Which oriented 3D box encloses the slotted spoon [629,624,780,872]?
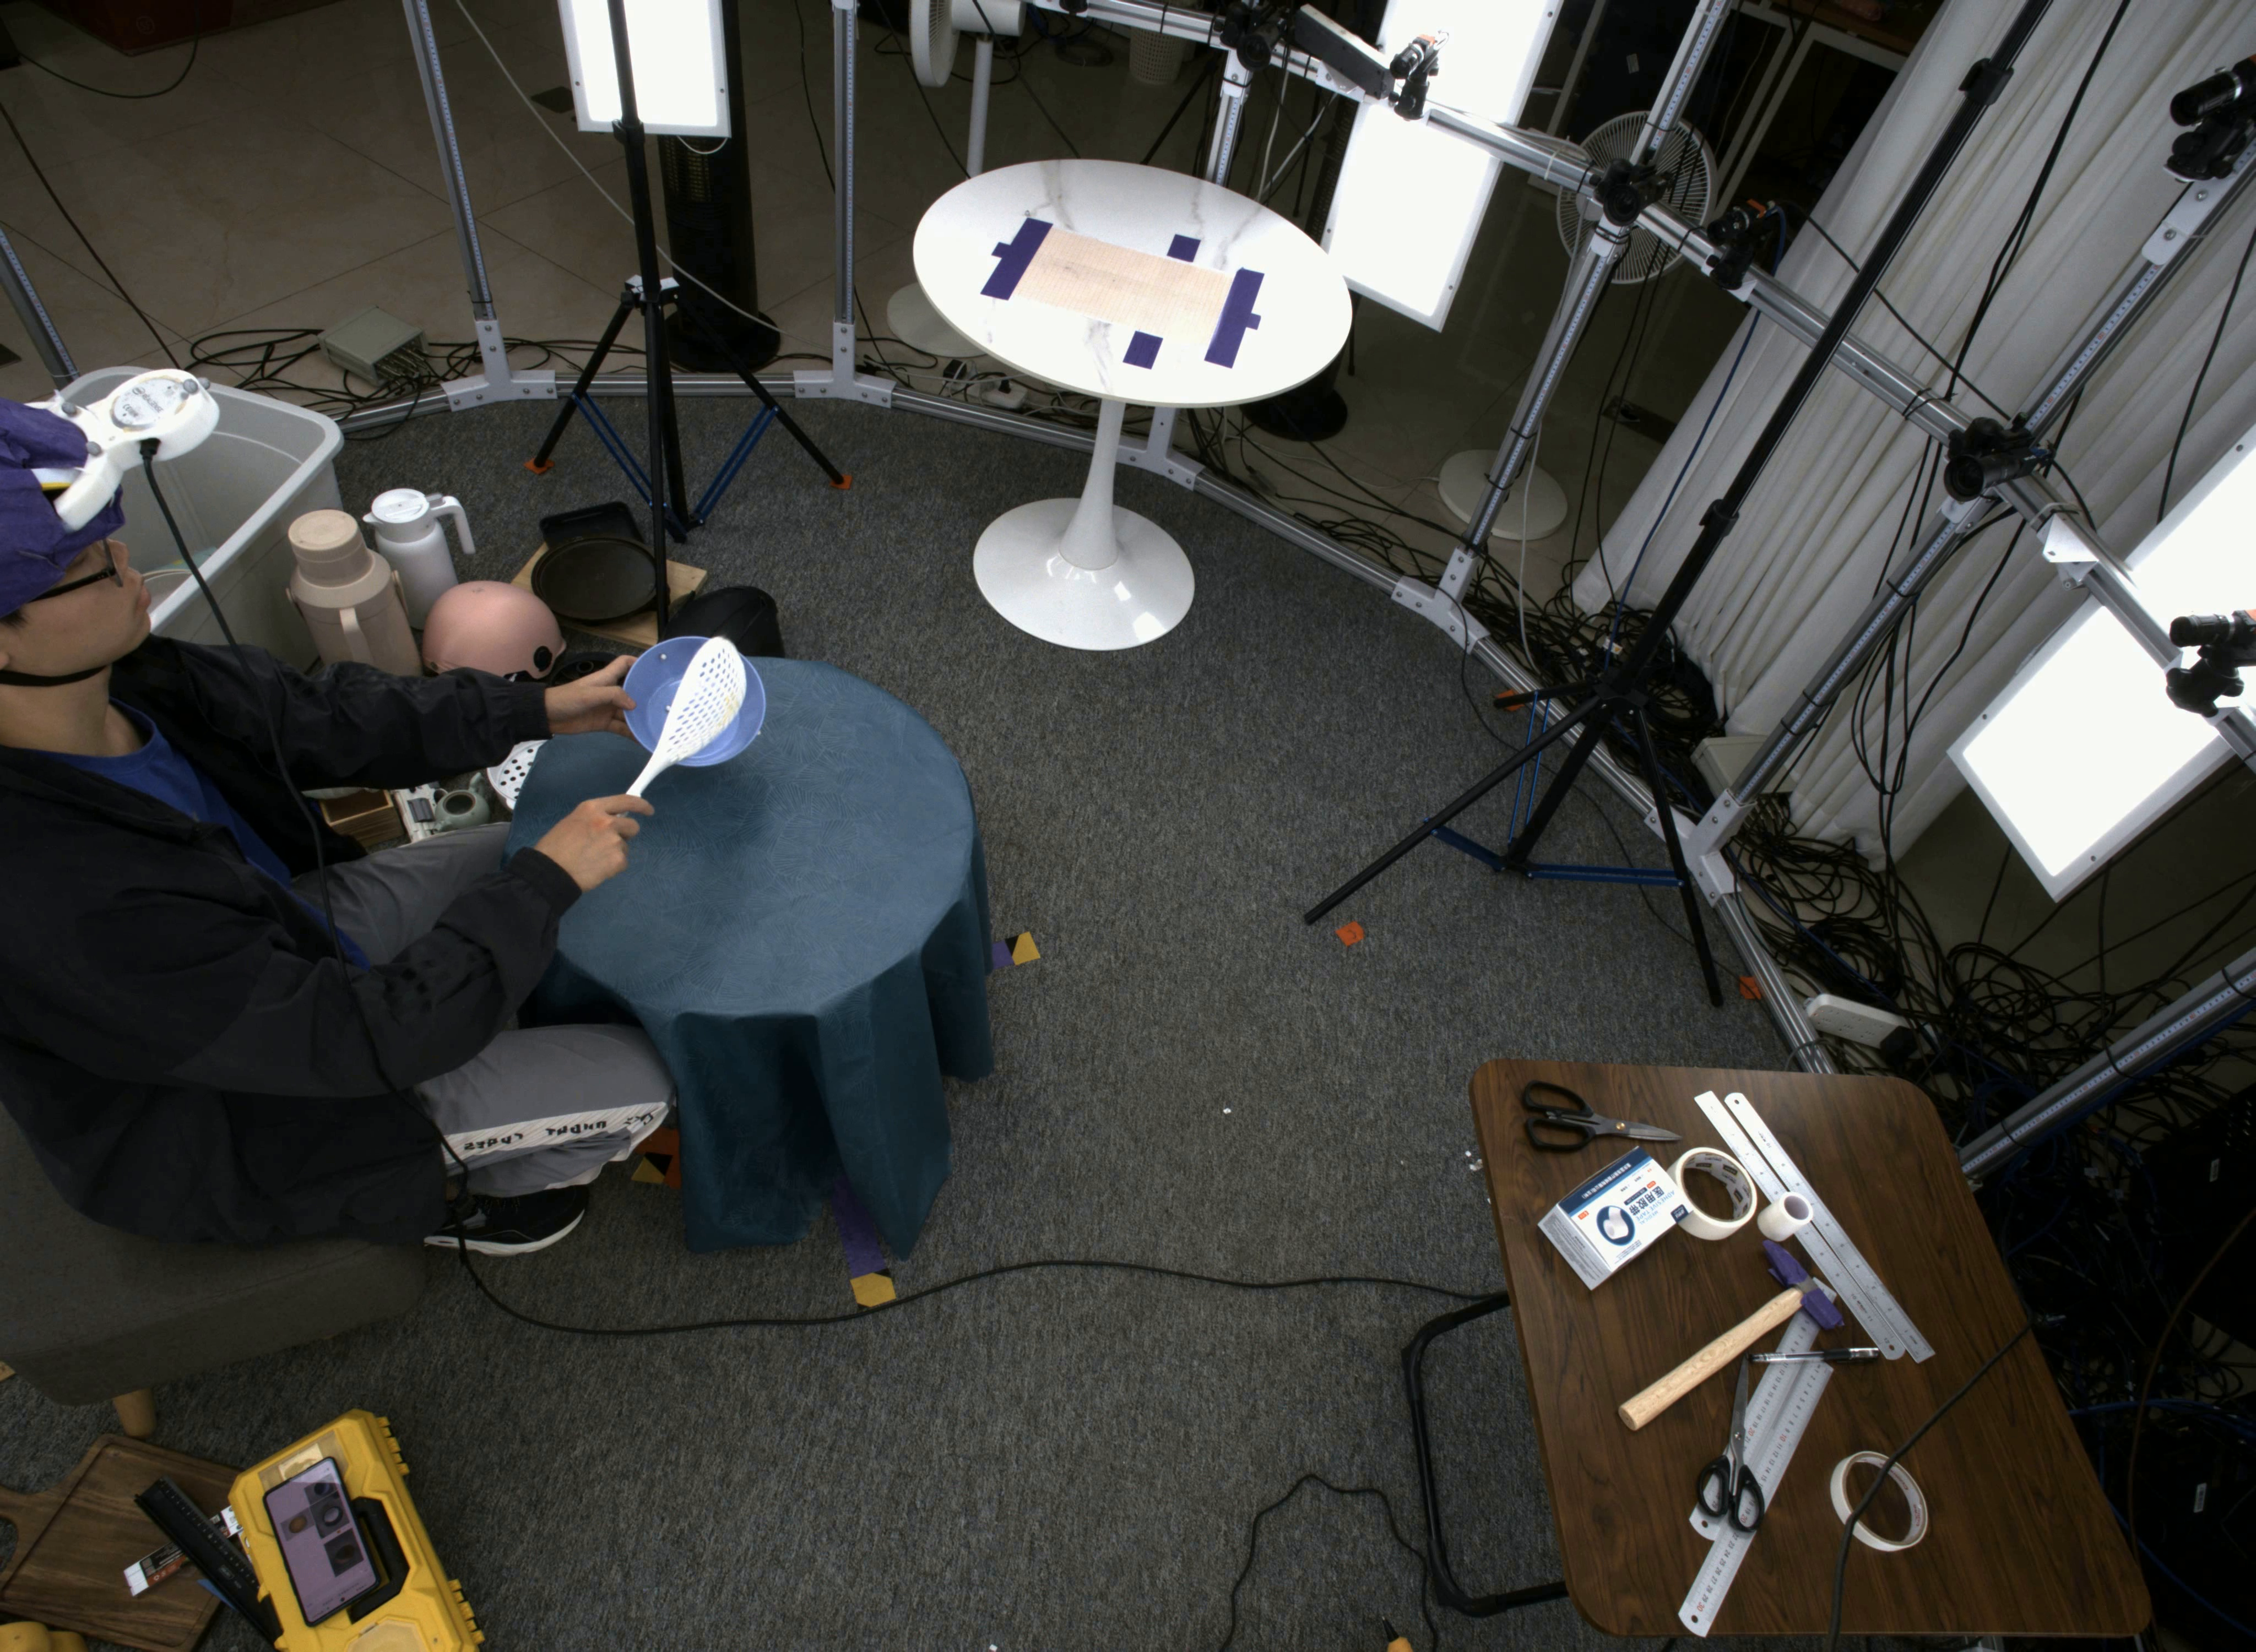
[{"bbox_3d":[-0.502,-0.088,1.525,0.049,0.140,0.346,24,60,11],"label":"slotted spoon"}]

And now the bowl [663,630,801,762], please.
[{"bbox_3d":[-0.517,-0.160,1.683,0.177,0.070,0.176,5,76,-19],"label":"bowl"}]
